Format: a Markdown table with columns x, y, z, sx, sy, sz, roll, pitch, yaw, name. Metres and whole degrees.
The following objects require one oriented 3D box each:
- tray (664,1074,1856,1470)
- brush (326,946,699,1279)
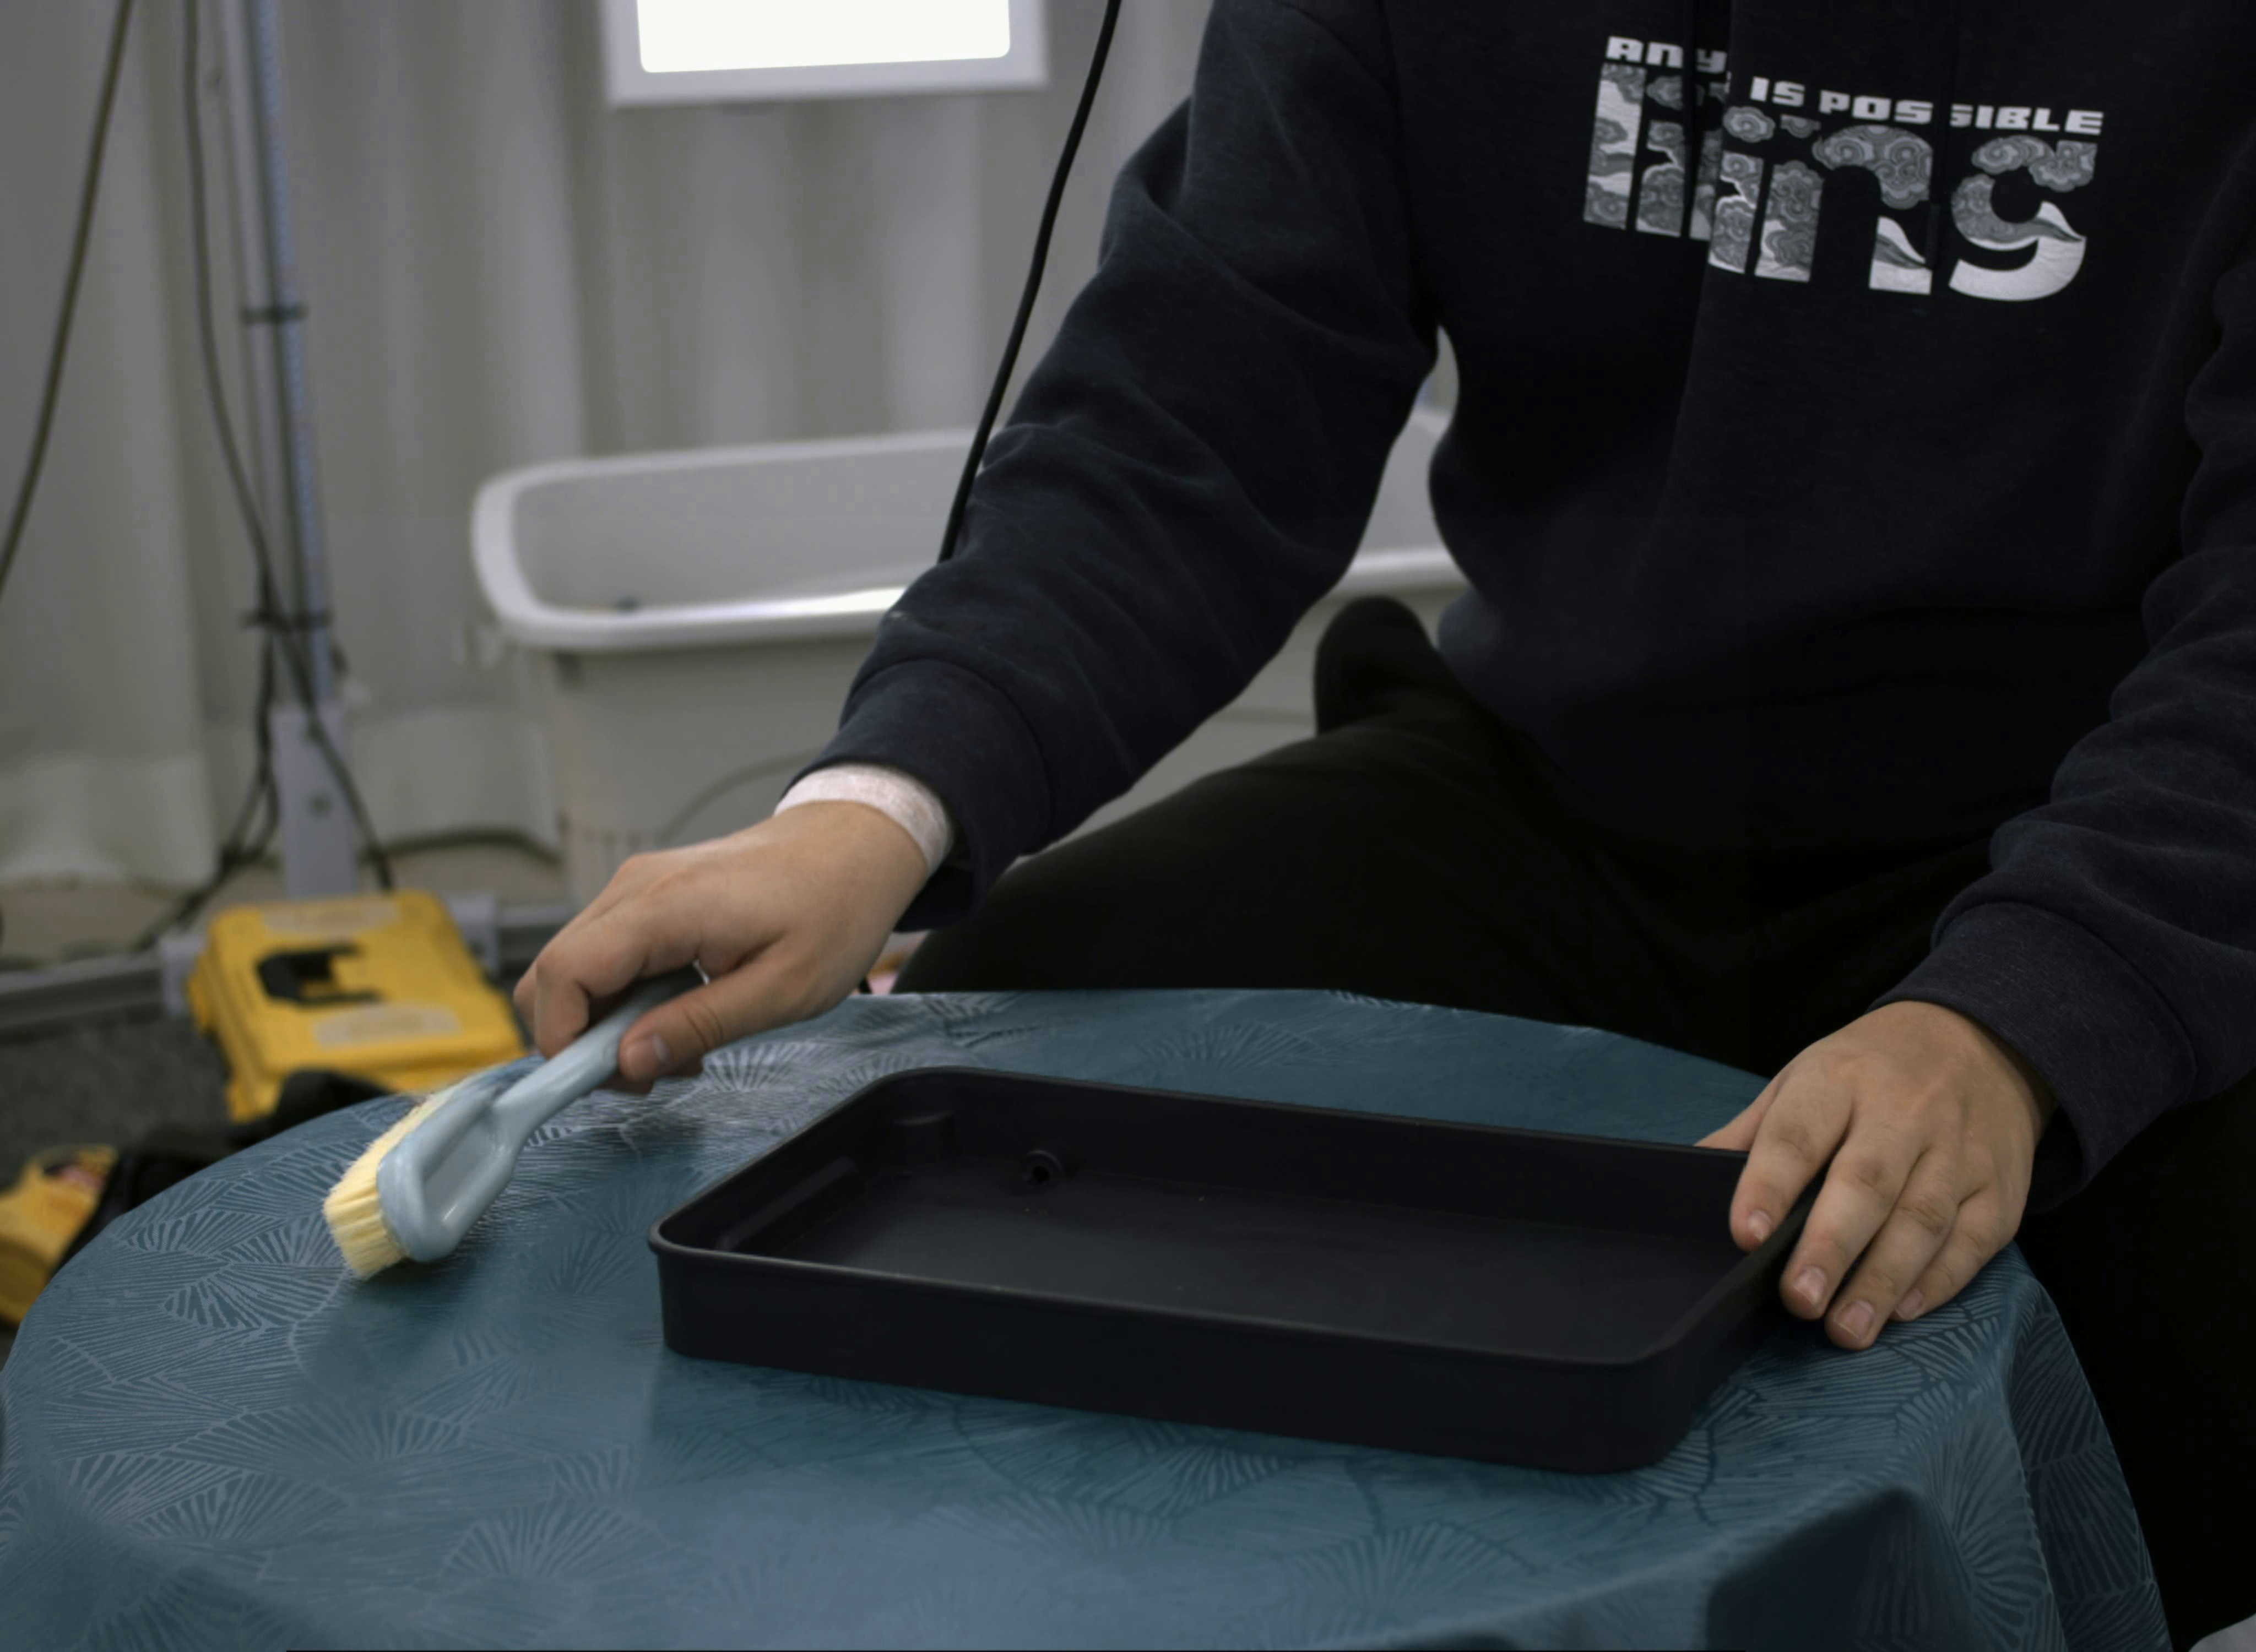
| x | y | z | sx | sy | sz | roll | pitch | yaw | name |
| --- | --- | --- | --- | --- | --- | --- | --- | --- | --- |
| 0.040 | 0.126 | 1.598 | 0.318 | 0.037 | 0.184 | 4 | 16 | 24 | tray |
| -0.194 | 0.087 | 1.752 | 0.049 | 0.037 | 0.230 | -20 | 12 | 27 | brush |
